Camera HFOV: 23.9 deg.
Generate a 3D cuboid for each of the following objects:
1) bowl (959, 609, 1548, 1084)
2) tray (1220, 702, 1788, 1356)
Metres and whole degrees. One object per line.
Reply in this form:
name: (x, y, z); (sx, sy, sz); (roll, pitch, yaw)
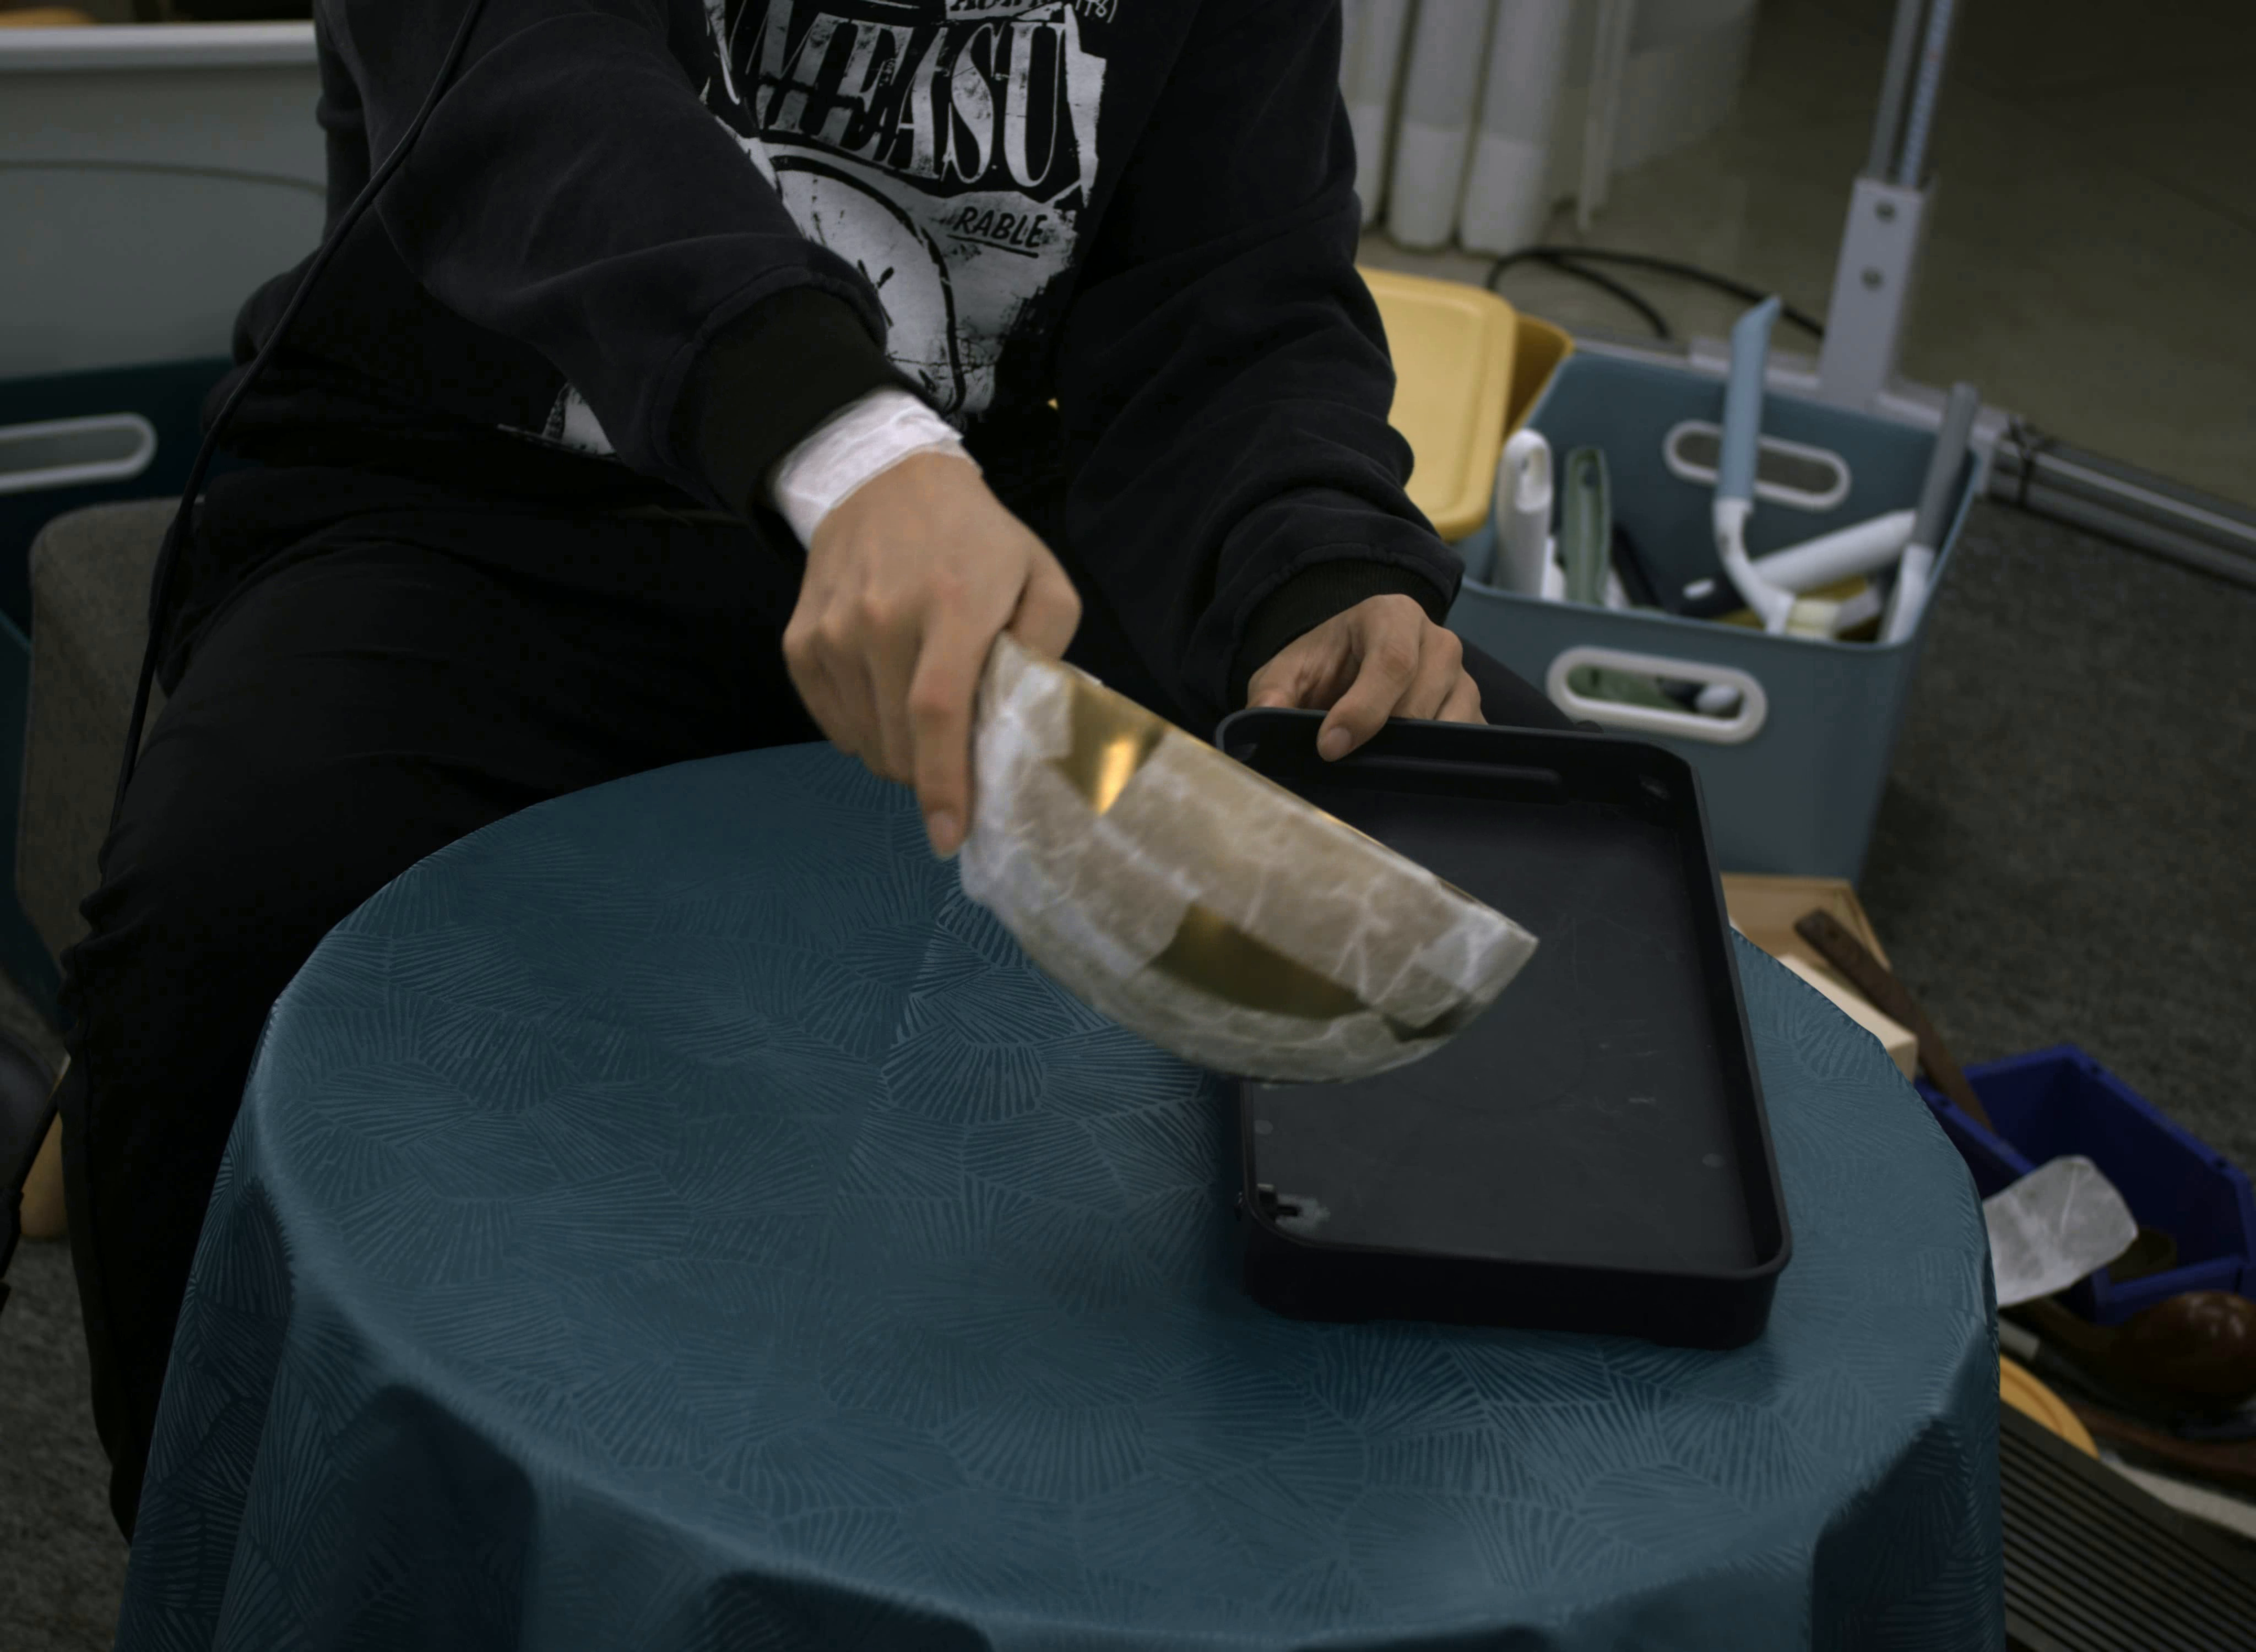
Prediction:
bowl: (0.024, 0.022, 1.699); (0.214, 0.094, 0.215); (30, 1, -1)
tray: (0.124, 0.065, 1.863); (0.183, 0.037, 0.320); (5, 35, -4)
